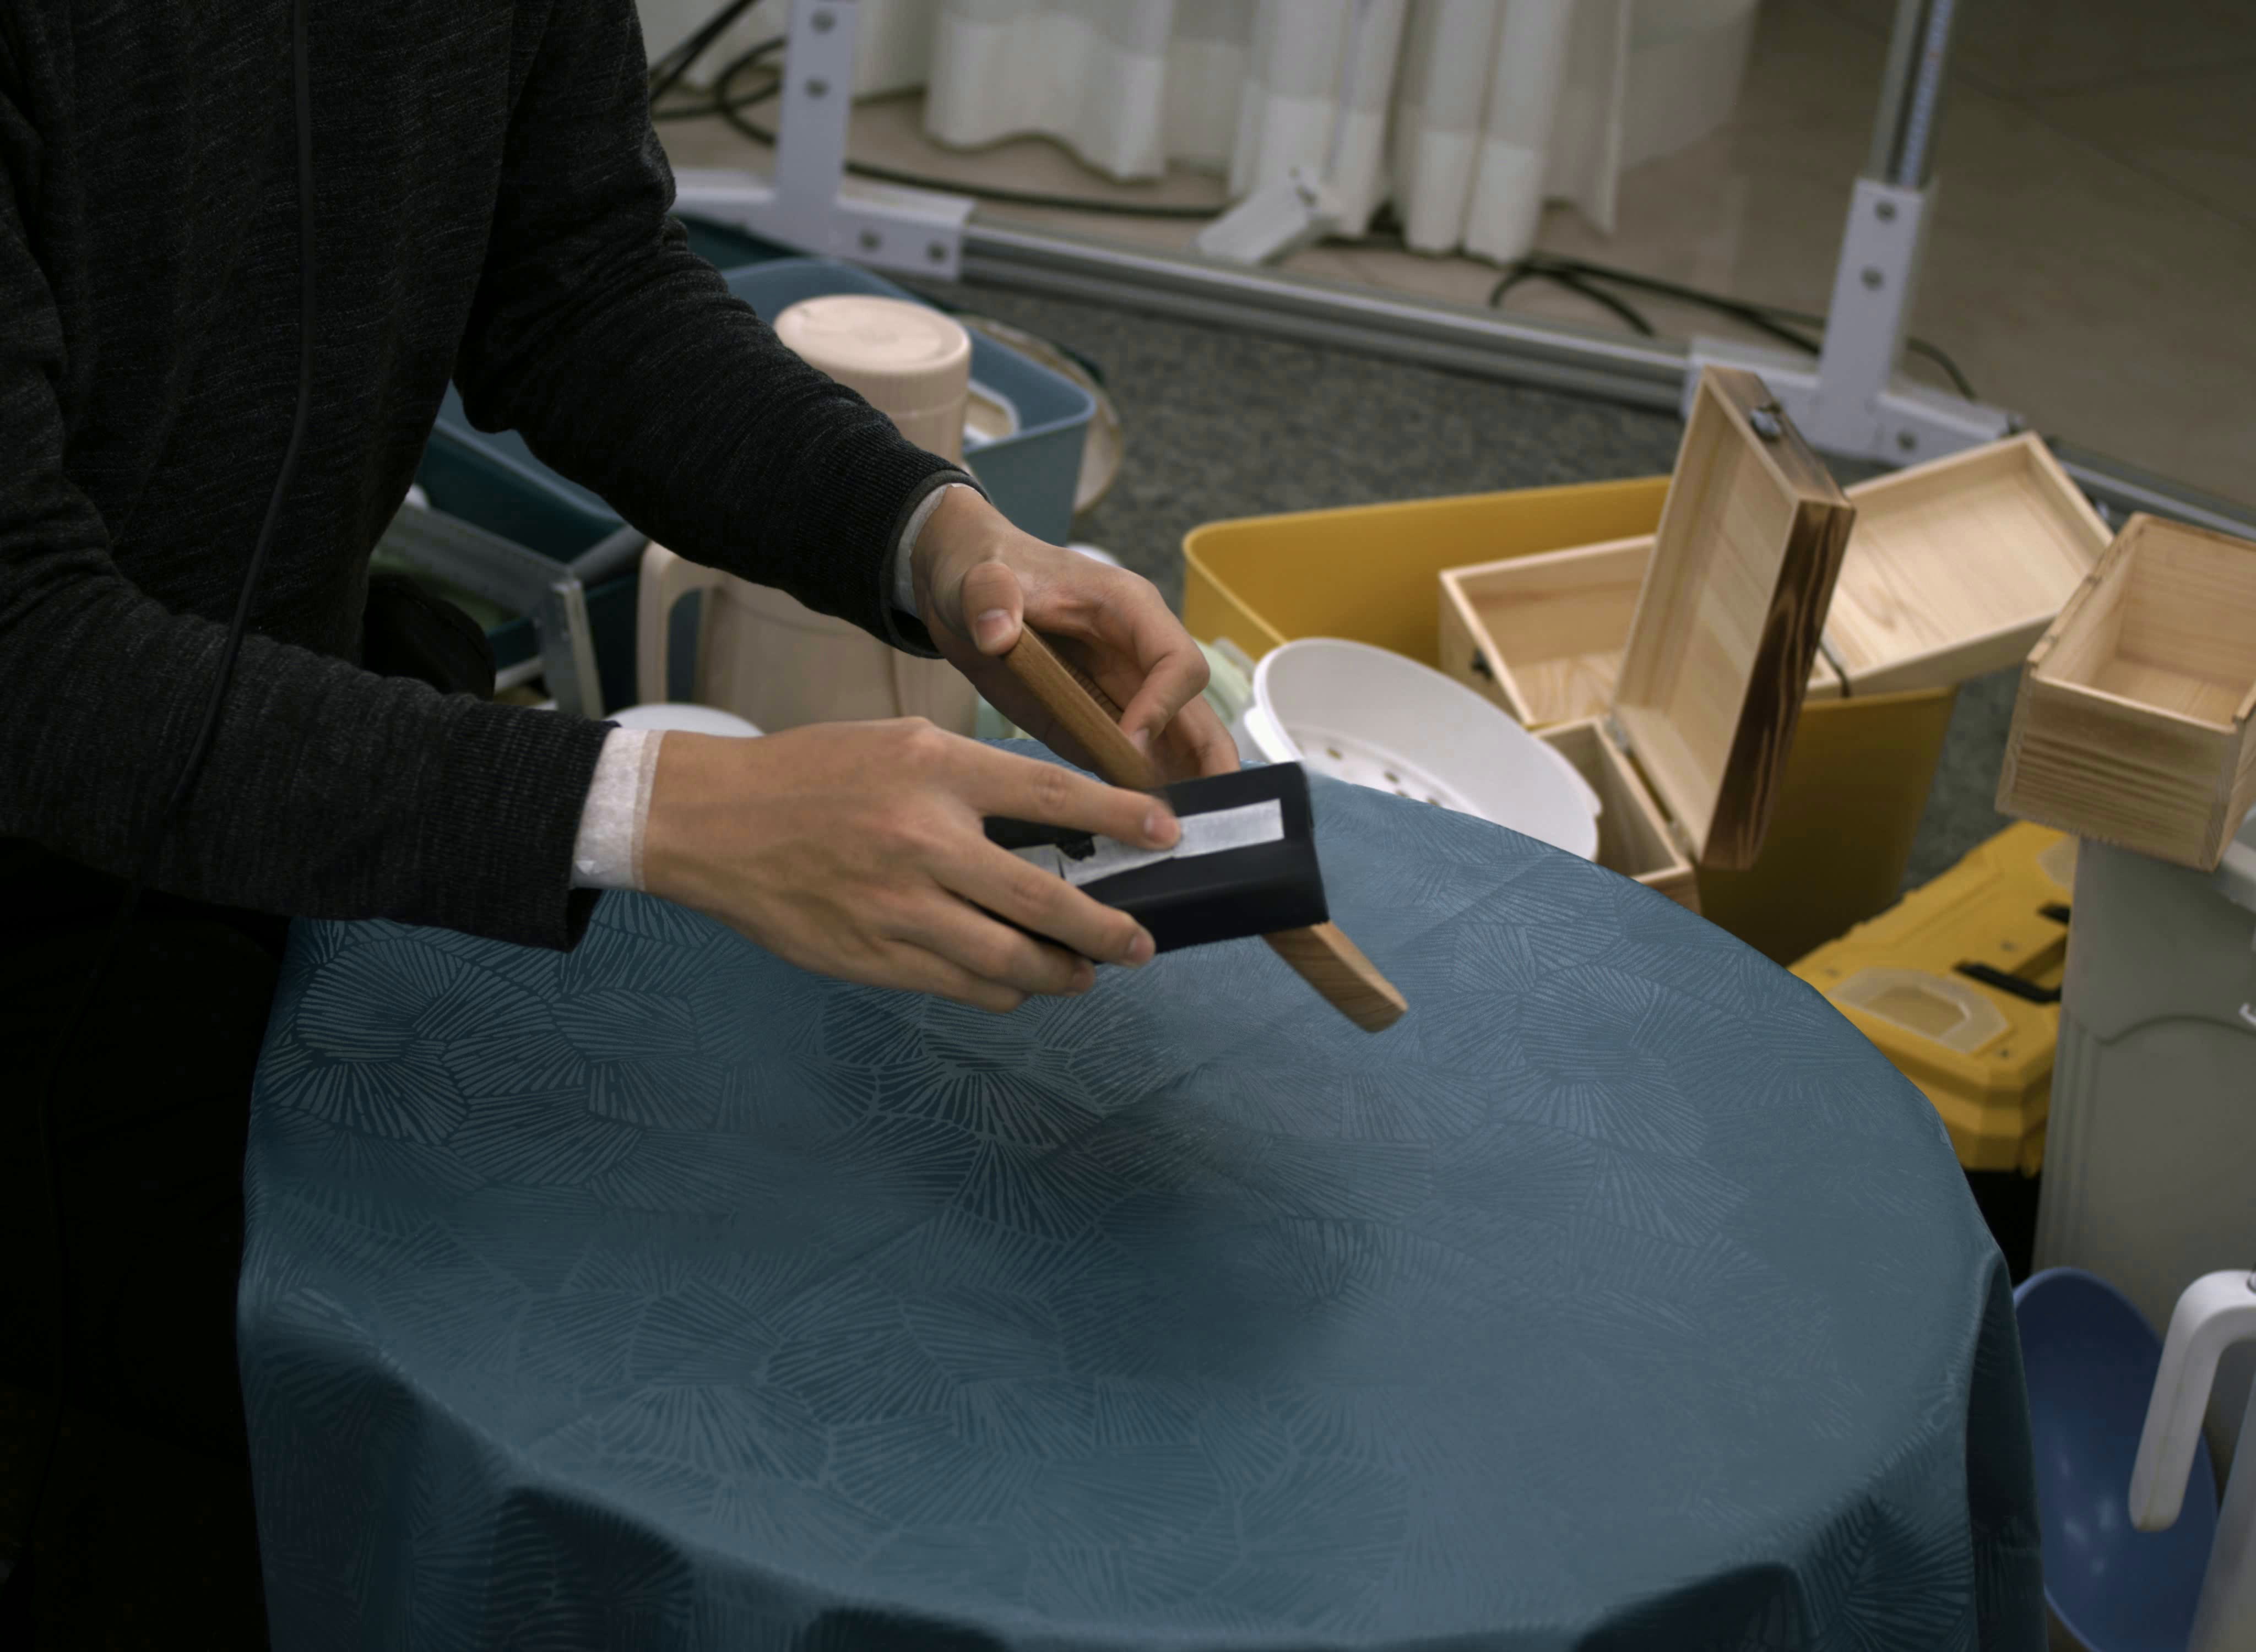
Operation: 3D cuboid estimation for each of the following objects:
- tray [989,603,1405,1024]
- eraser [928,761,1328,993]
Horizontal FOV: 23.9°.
[{"bbox_3d":[0.021,-0.005,1.835,0.101,0.020,0.233,44,0,-44],"label":"tray"},{"bbox_3d":[0.001,0.016,1.725,0.125,0.030,0.054,-12,49,-1],"label":"eraser"}]
